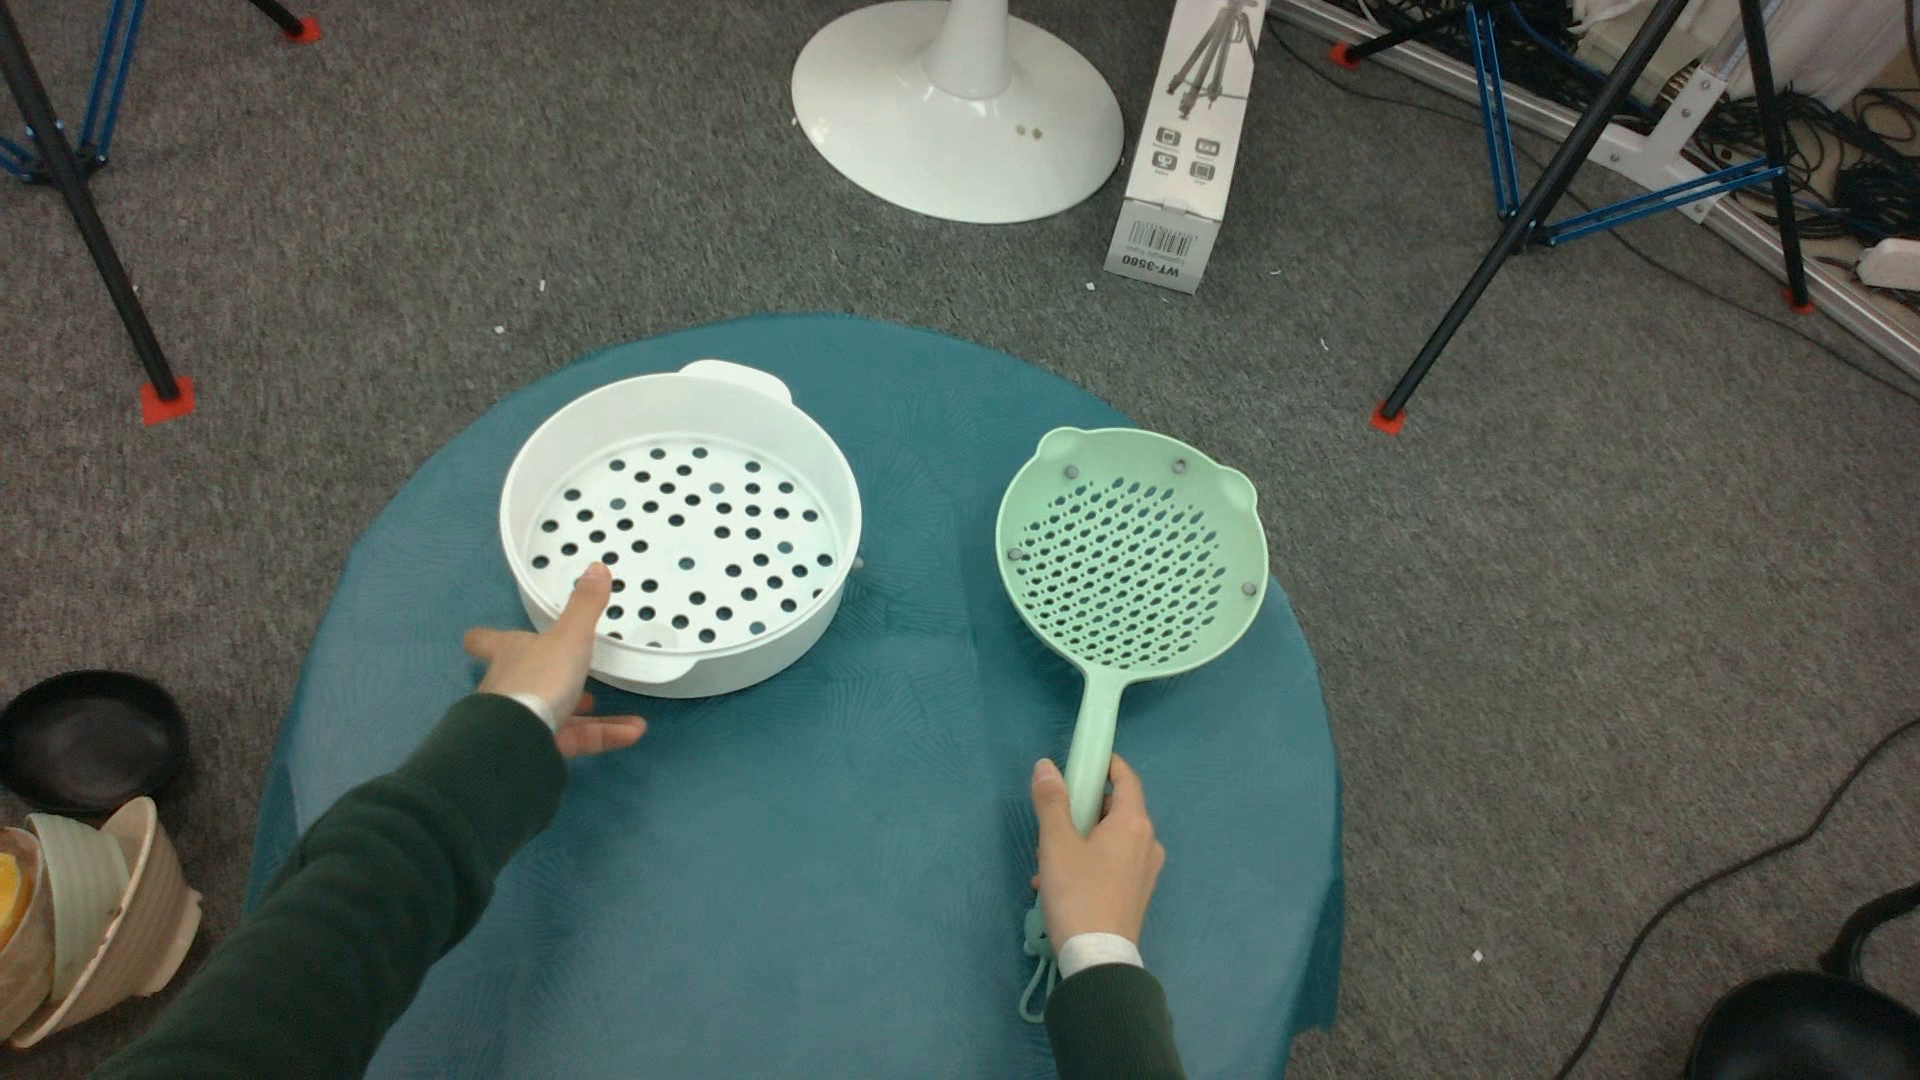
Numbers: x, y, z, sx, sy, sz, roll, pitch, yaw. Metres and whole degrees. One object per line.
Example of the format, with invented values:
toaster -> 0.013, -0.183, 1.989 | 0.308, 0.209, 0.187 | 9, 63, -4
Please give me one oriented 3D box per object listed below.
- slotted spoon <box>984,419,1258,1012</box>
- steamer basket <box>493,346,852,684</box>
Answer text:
slotted spoon -> 0.075, 0.087, 0.798 | 0.169, 0.075, 0.360 | 14, 53, 2
steamer basket -> -0.167, -0.011, 0.814 | 0.202, 0.069, 0.231 | 14, 54, -2
